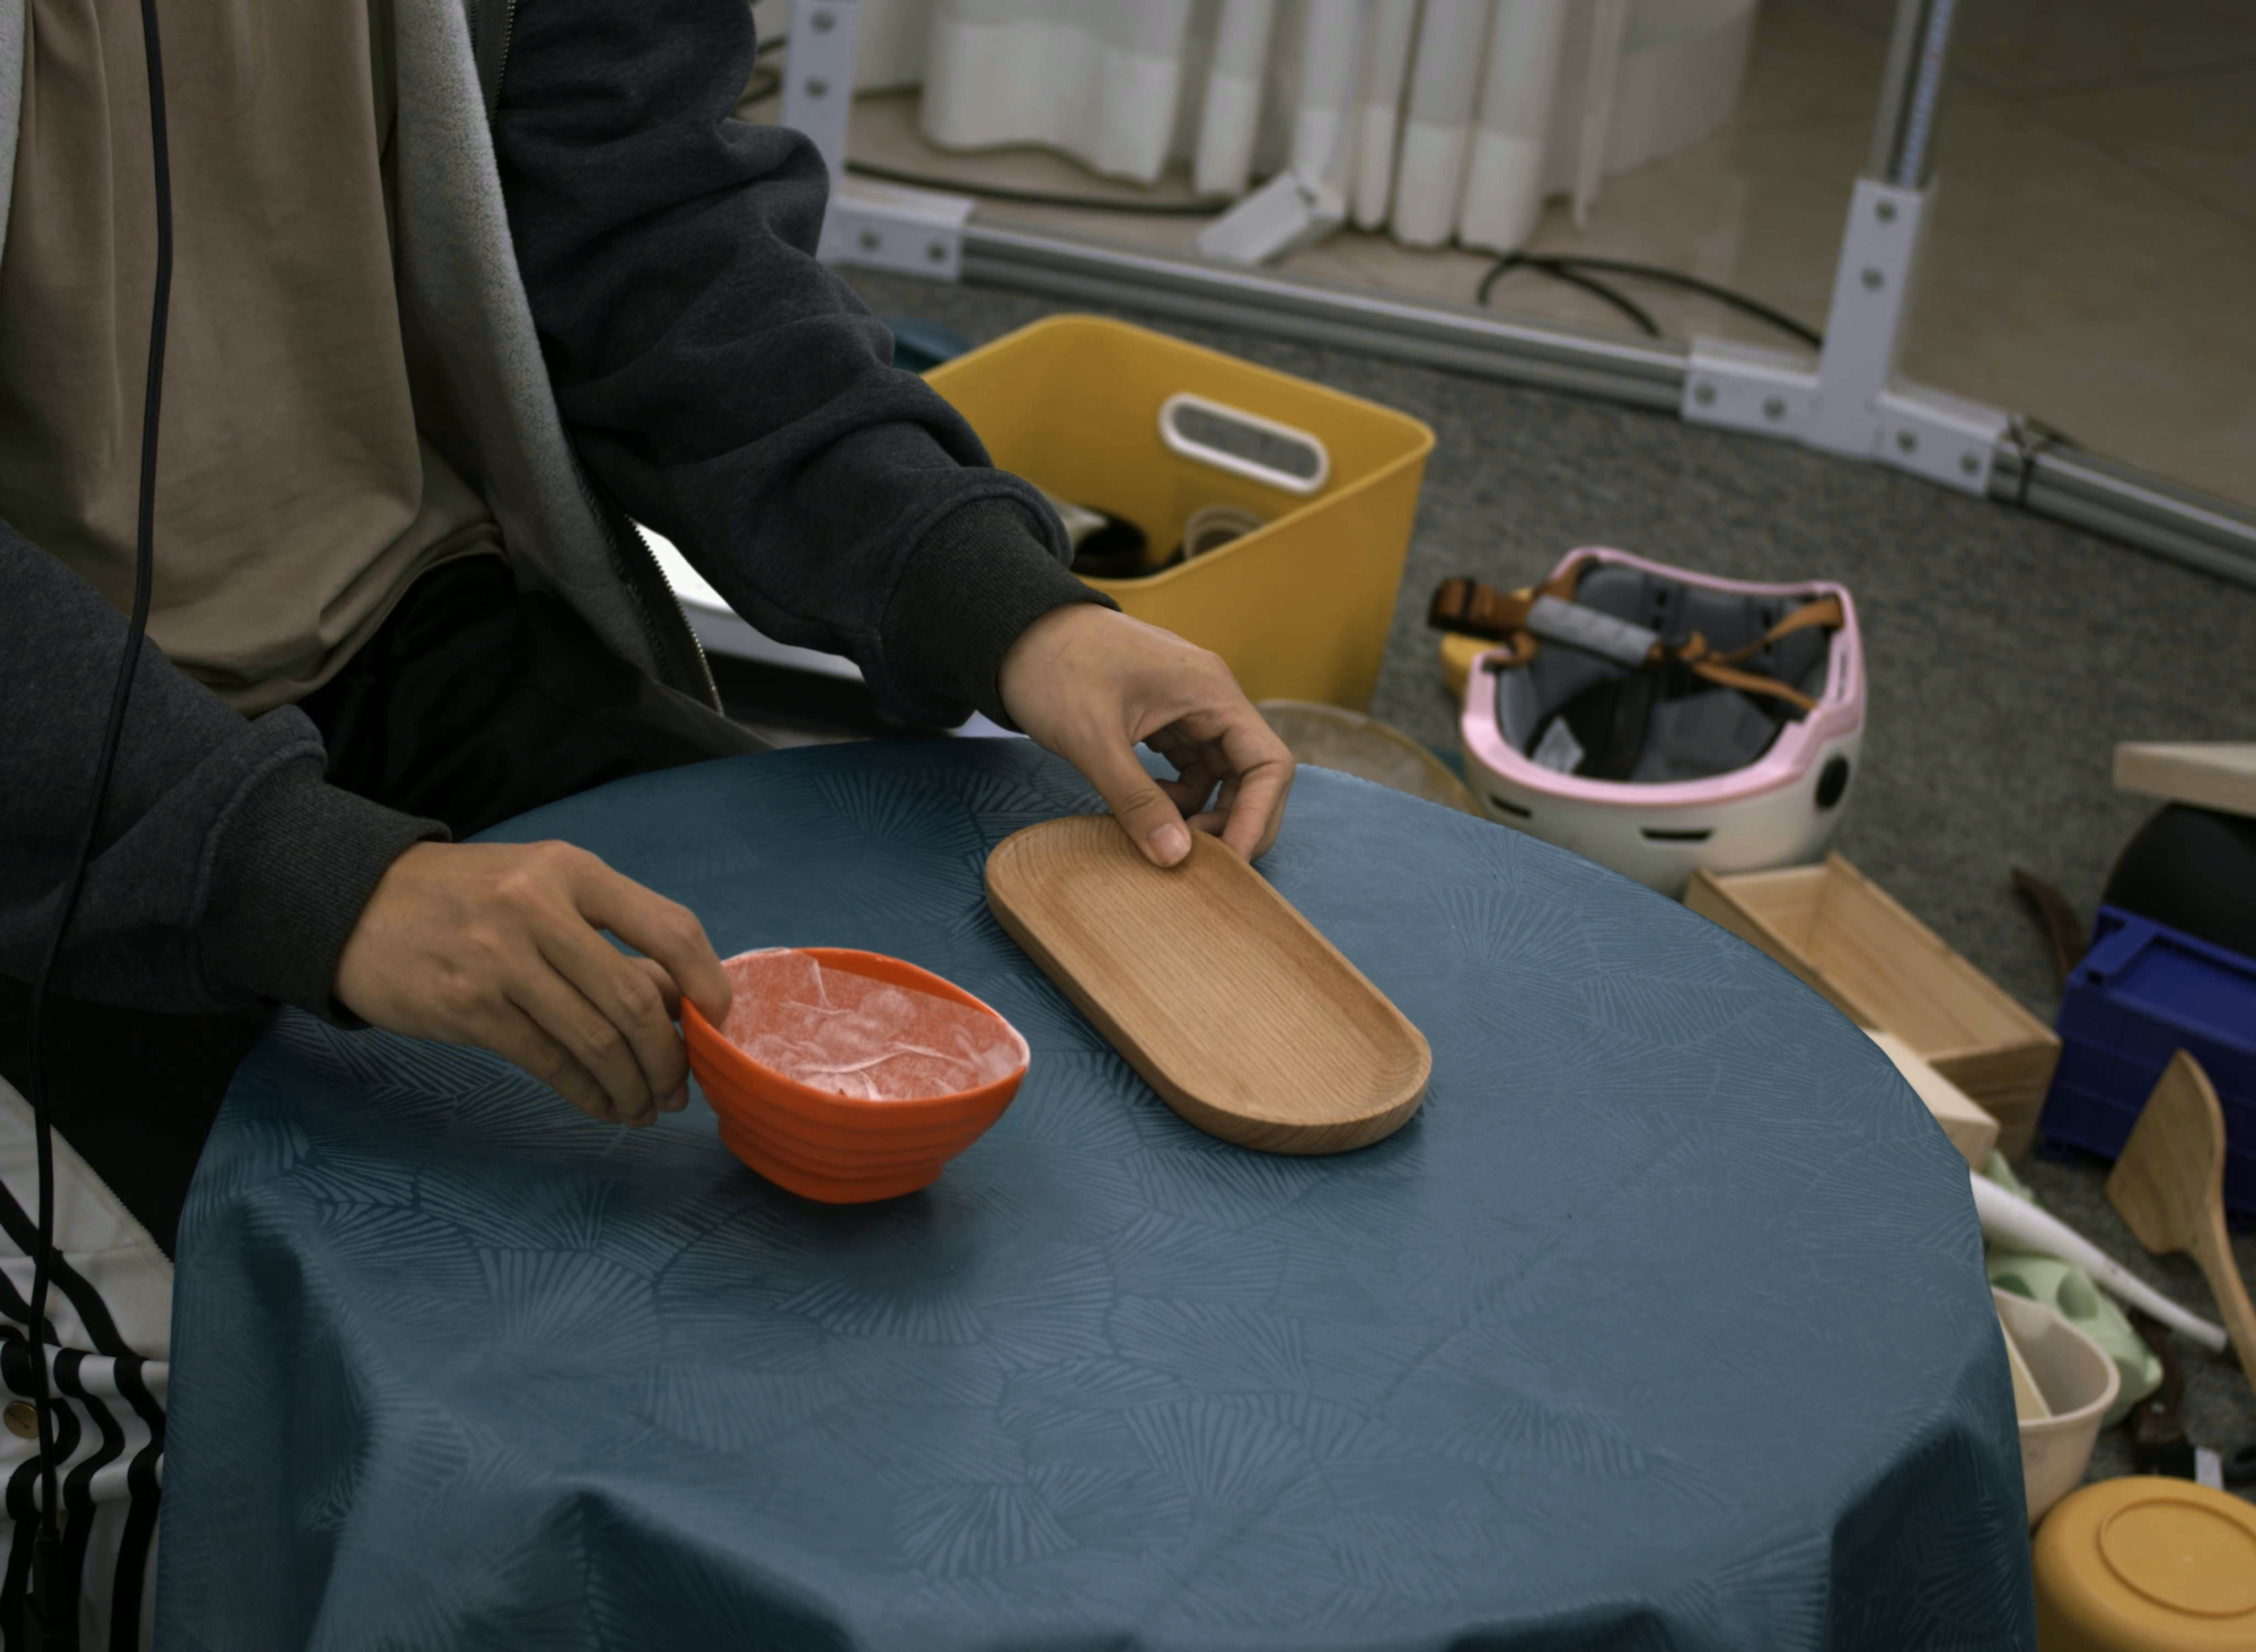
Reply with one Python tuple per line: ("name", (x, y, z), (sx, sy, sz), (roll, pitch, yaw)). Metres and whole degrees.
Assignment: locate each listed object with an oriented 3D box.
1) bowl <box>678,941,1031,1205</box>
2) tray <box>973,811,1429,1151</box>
("bowl", (-0.095, 0.086, 1.776), (0.118, 0.051, 0.119), (11, 24, -5))
("tray", (0.024, 0.054, 1.923), (0.101, 0.020, 0.233), (-10, 30, -27))
